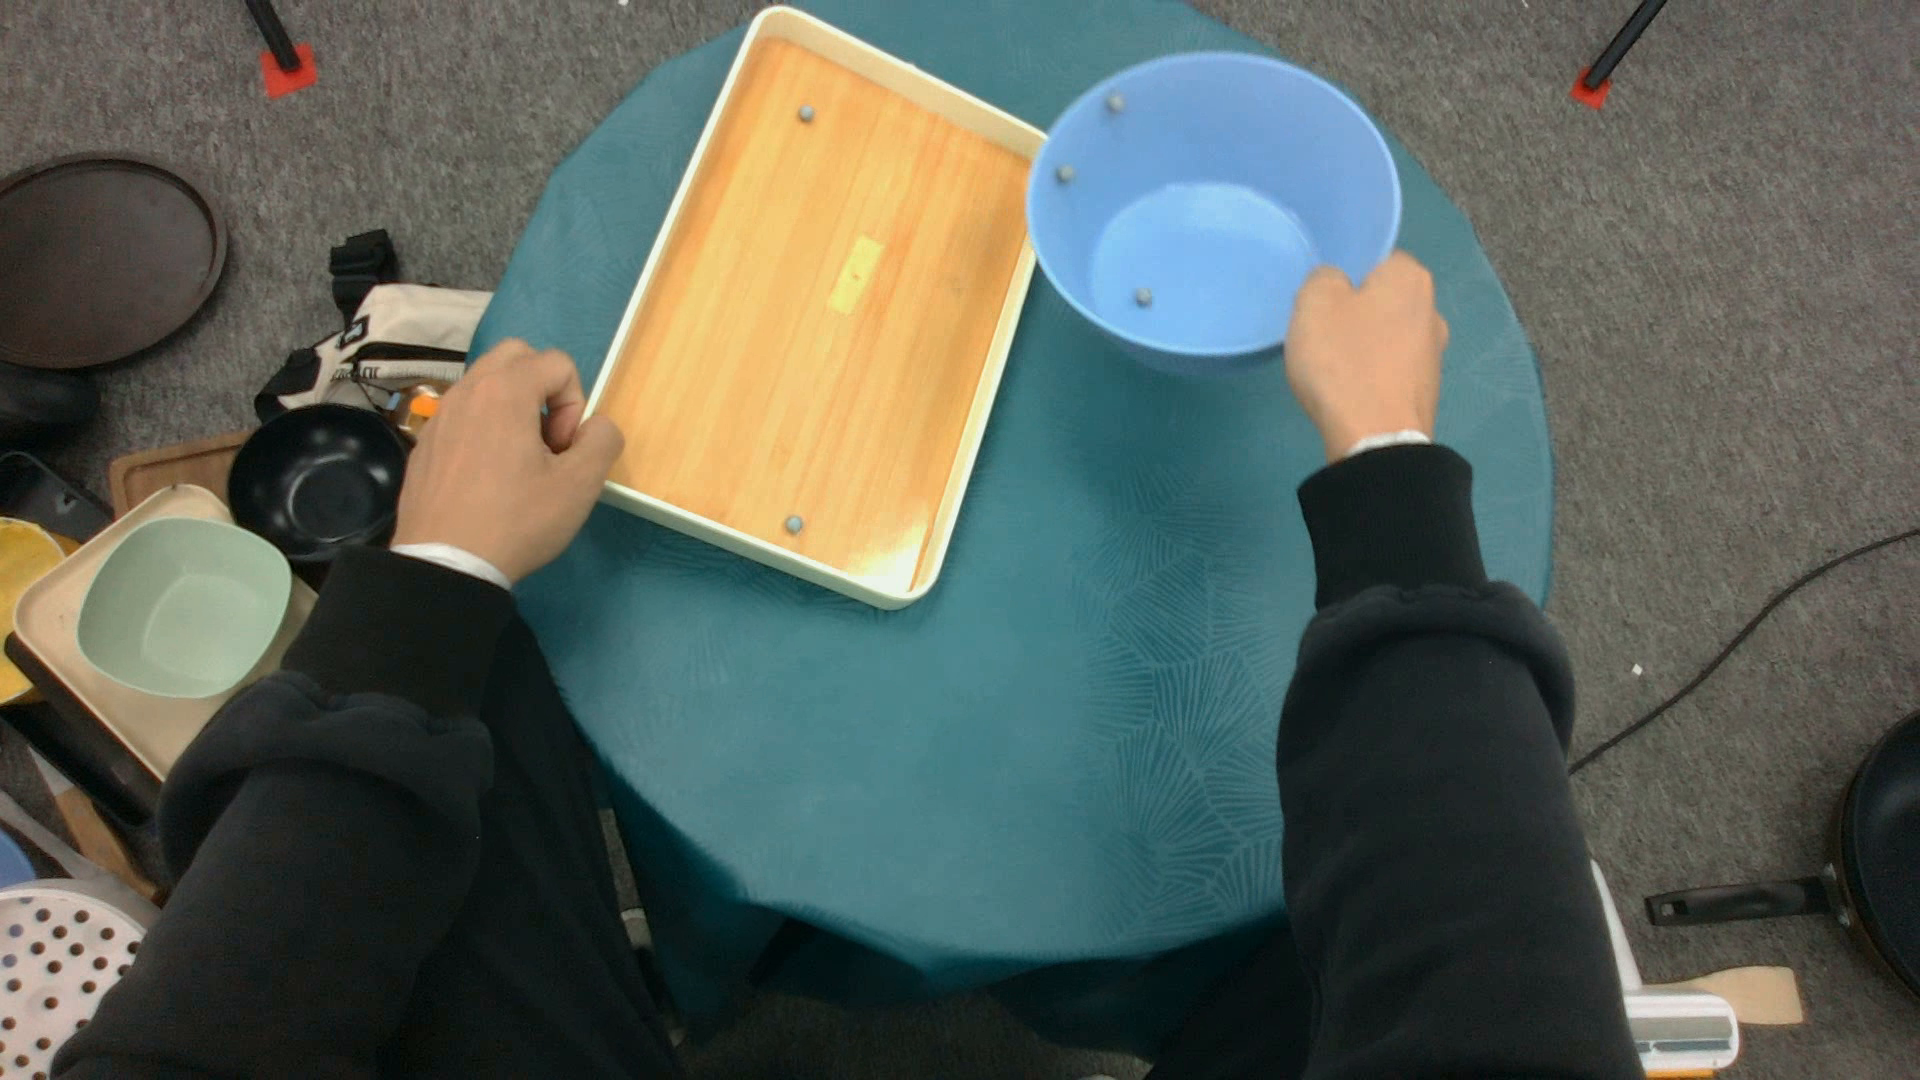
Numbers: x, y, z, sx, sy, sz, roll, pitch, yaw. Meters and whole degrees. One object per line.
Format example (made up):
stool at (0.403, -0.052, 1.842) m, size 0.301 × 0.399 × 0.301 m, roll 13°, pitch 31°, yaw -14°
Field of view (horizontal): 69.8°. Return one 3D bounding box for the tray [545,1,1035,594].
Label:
tray at (-0.080, -0.135, 0.735) m, size 0.191 × 0.027 × 0.301 m, roll 21°, pitch 67°, yaw -12°

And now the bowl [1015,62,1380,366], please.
bowl at (0.117, -0.154, 0.695) m, size 0.176 × 0.070 × 0.177 m, roll -3°, pitch 62°, yaw 5°
